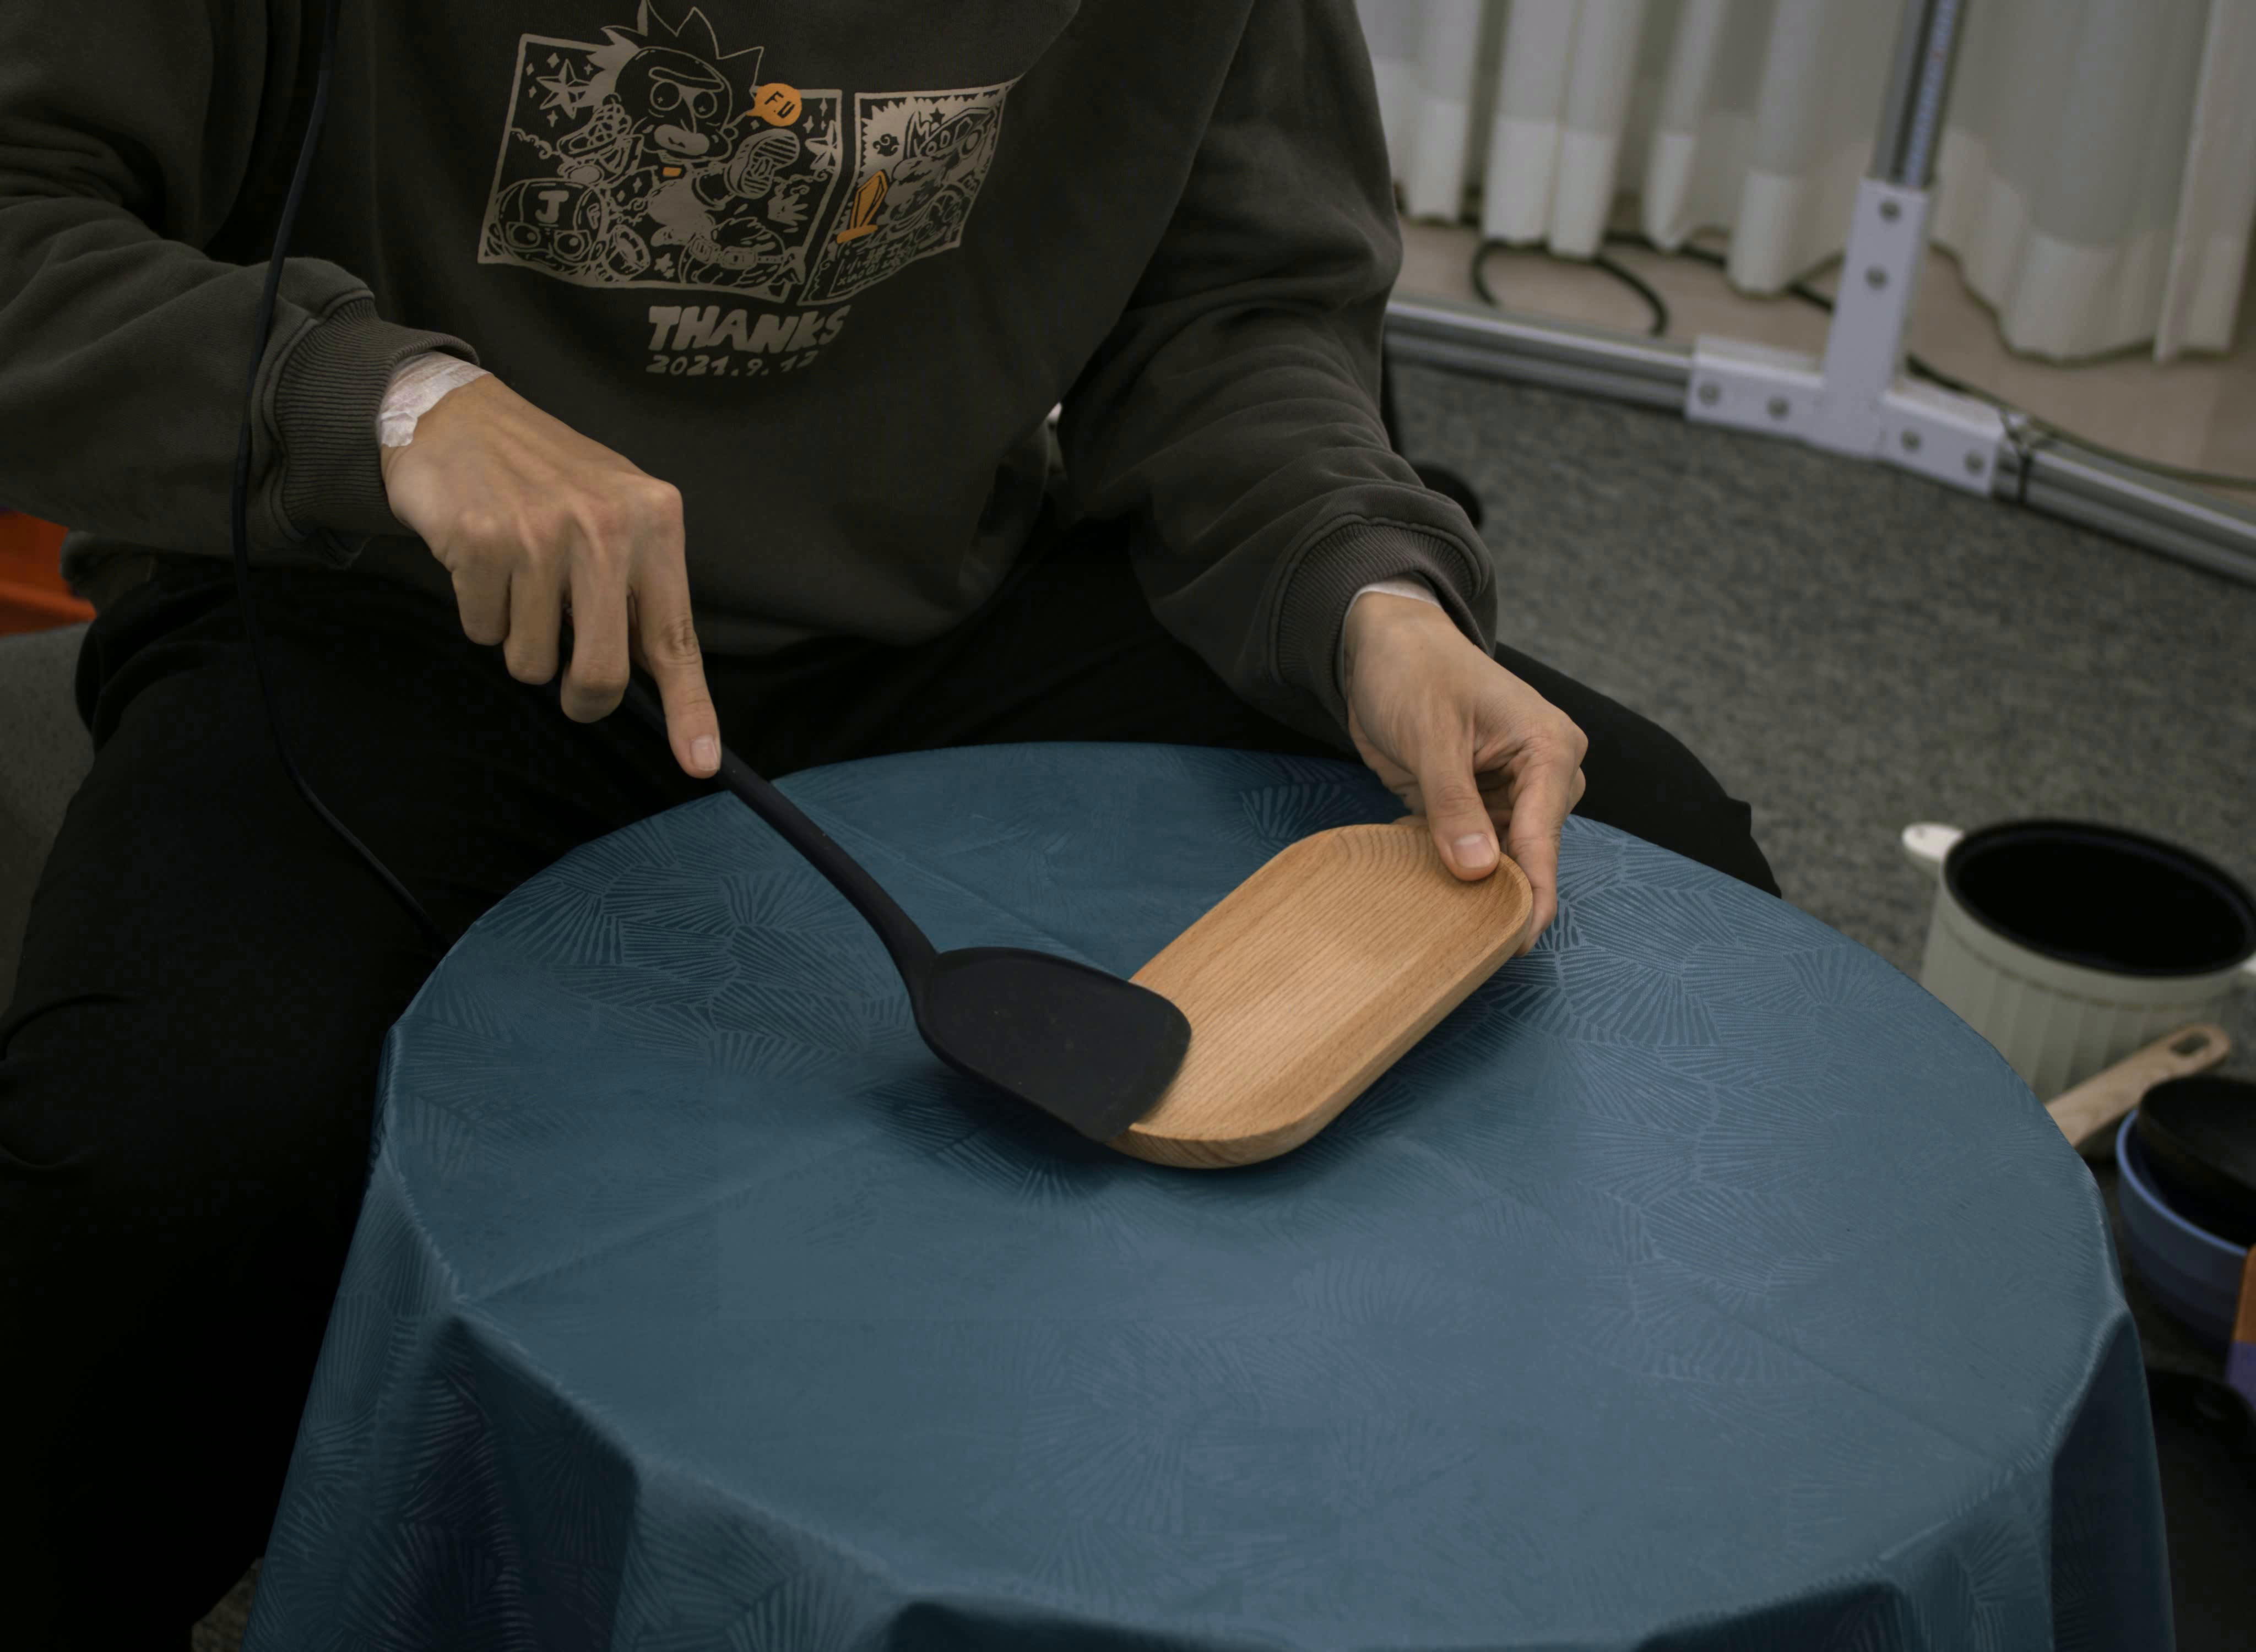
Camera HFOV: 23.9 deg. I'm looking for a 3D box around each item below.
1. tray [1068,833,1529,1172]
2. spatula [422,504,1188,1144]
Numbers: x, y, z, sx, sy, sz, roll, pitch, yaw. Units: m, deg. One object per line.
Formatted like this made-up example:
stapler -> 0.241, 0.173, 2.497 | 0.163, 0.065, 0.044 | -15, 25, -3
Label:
tray -> 0.060, 0.061, 1.898 | 0.102, 0.020, 0.231 | 17, 35, 29
spatula -> -0.118, -0.008, 1.847 | 0.326, 0.040, 0.100 | 43, 31, 0
